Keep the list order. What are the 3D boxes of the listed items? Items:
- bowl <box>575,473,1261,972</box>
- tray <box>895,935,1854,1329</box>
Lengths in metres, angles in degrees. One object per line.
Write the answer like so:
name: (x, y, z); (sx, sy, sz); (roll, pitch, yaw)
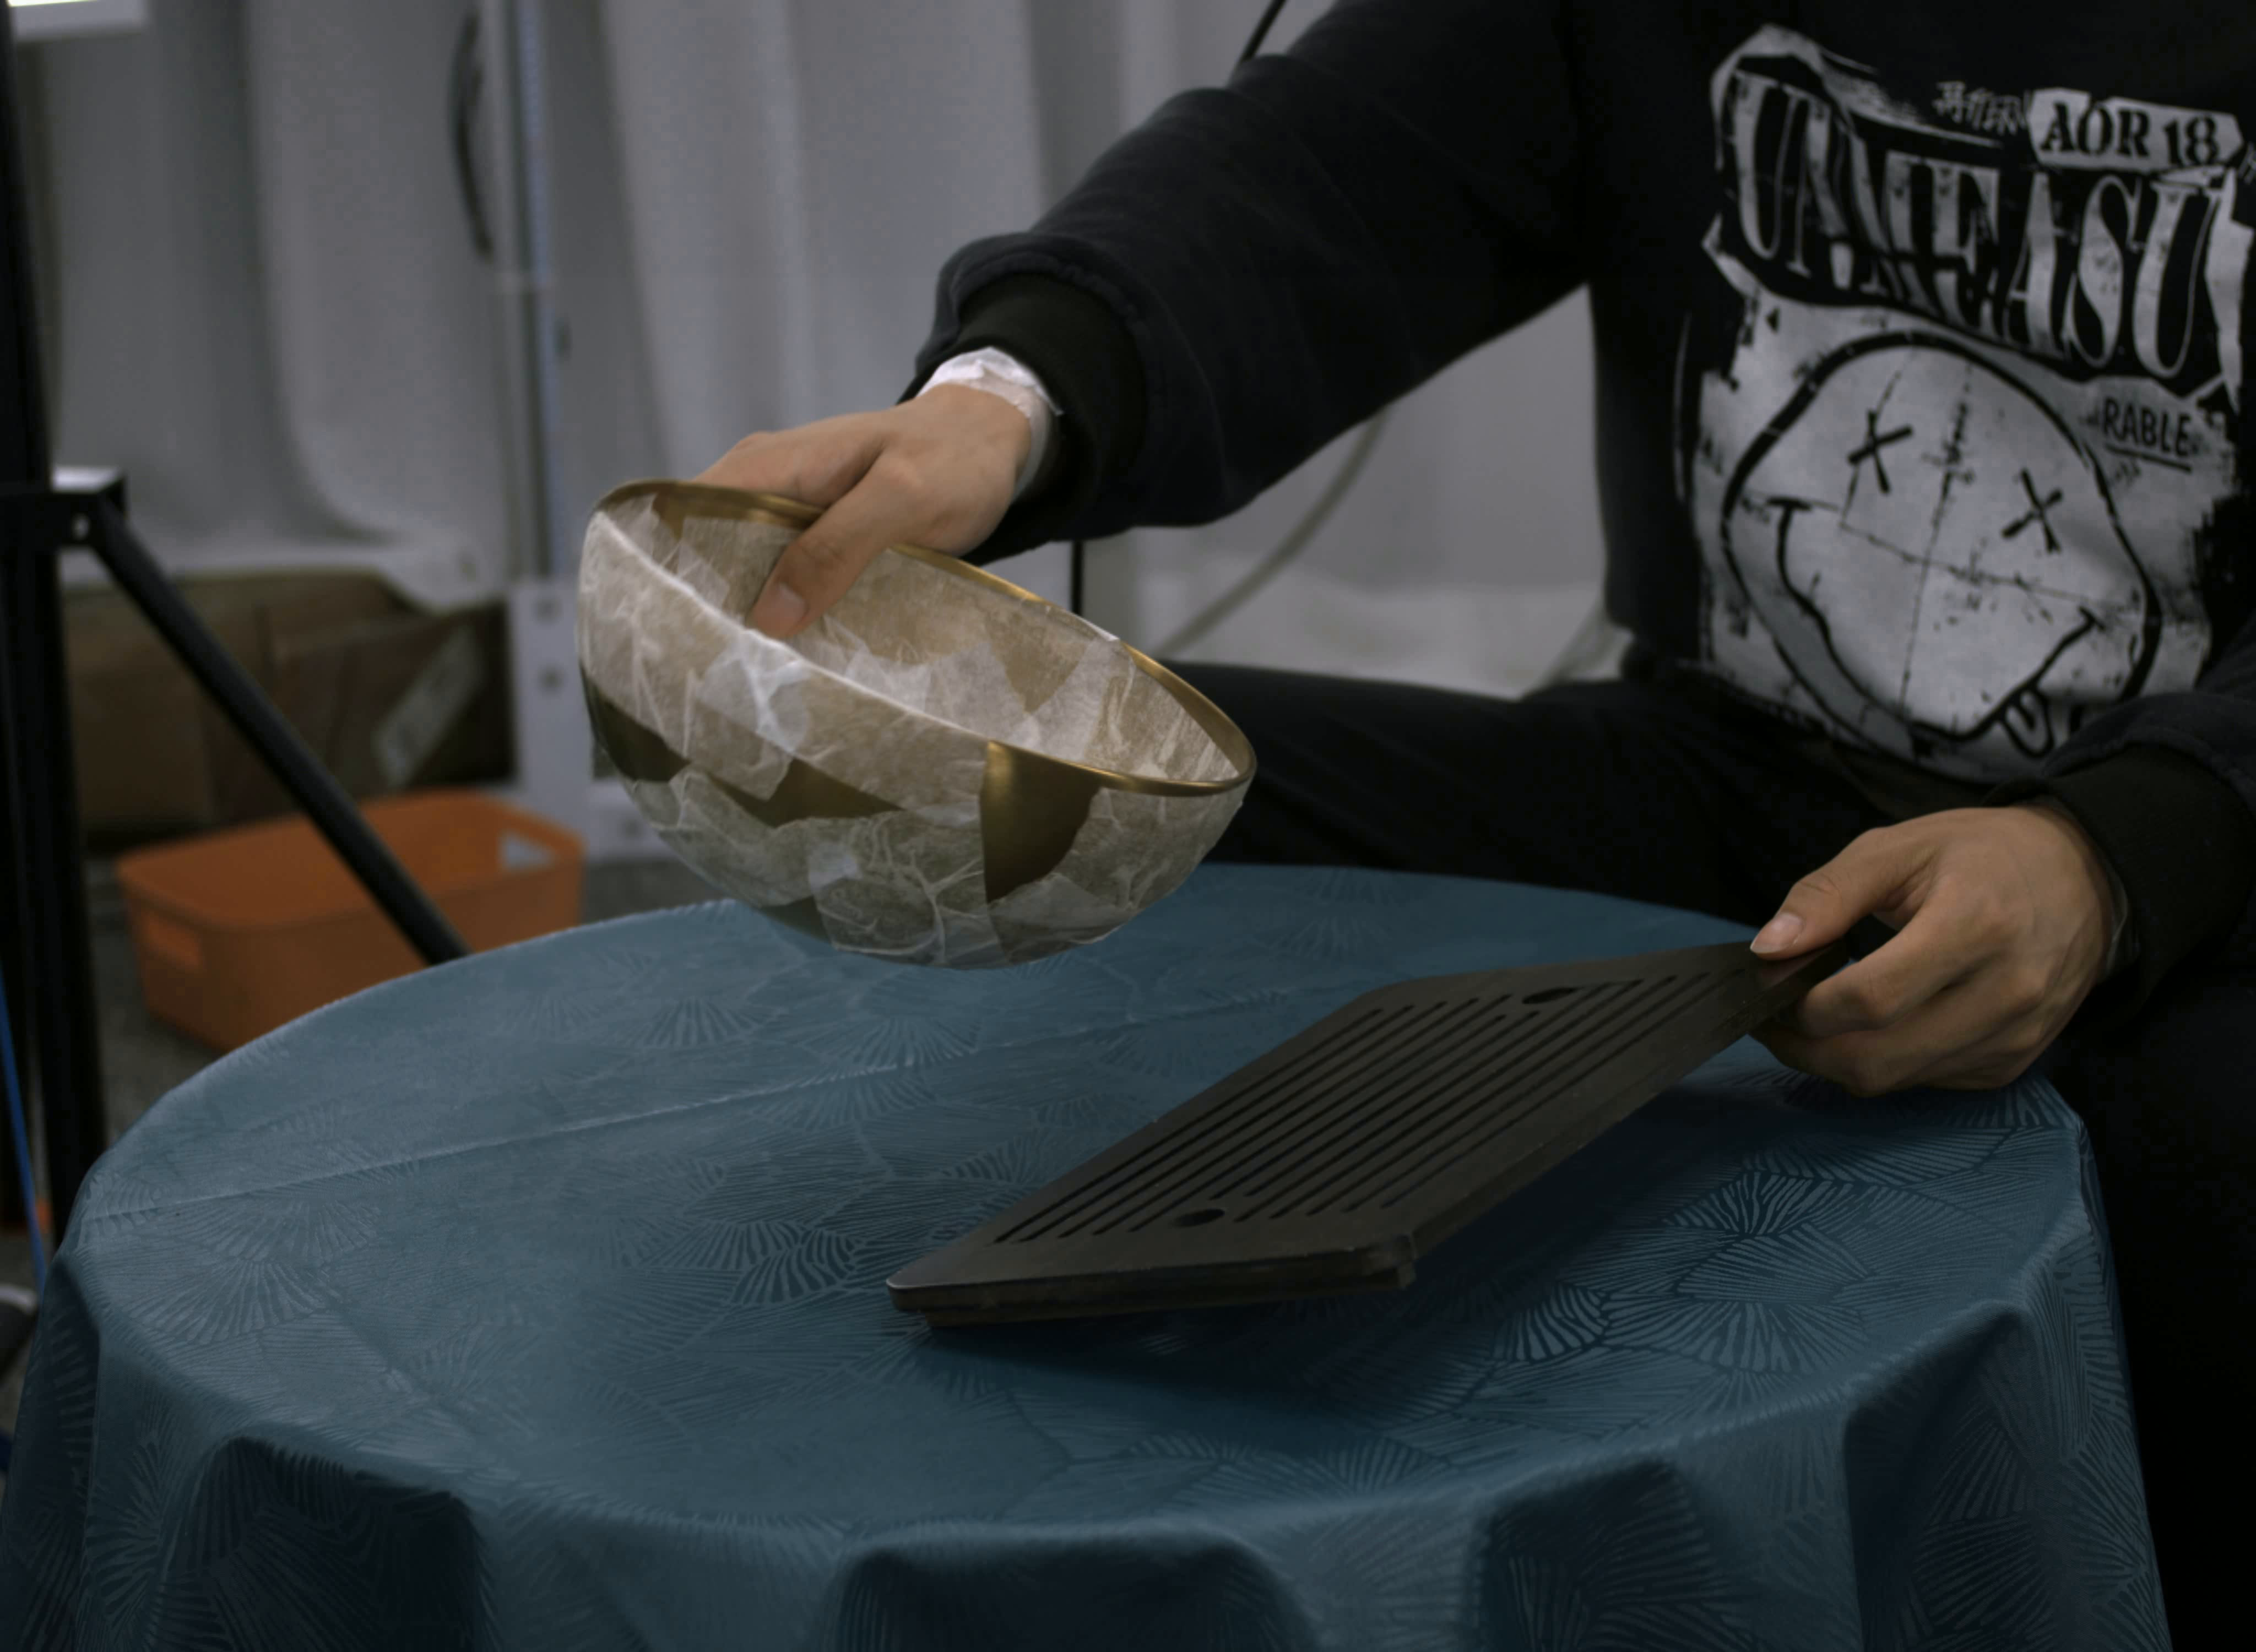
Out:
bowl: (-0.067, -0.016, 1.519); (0.213, 0.095, 0.216); (20, 13, -6)
tray: (0.079, 0.087, 1.522); (0.173, 0.018, 0.300); (-8, 11, 34)
